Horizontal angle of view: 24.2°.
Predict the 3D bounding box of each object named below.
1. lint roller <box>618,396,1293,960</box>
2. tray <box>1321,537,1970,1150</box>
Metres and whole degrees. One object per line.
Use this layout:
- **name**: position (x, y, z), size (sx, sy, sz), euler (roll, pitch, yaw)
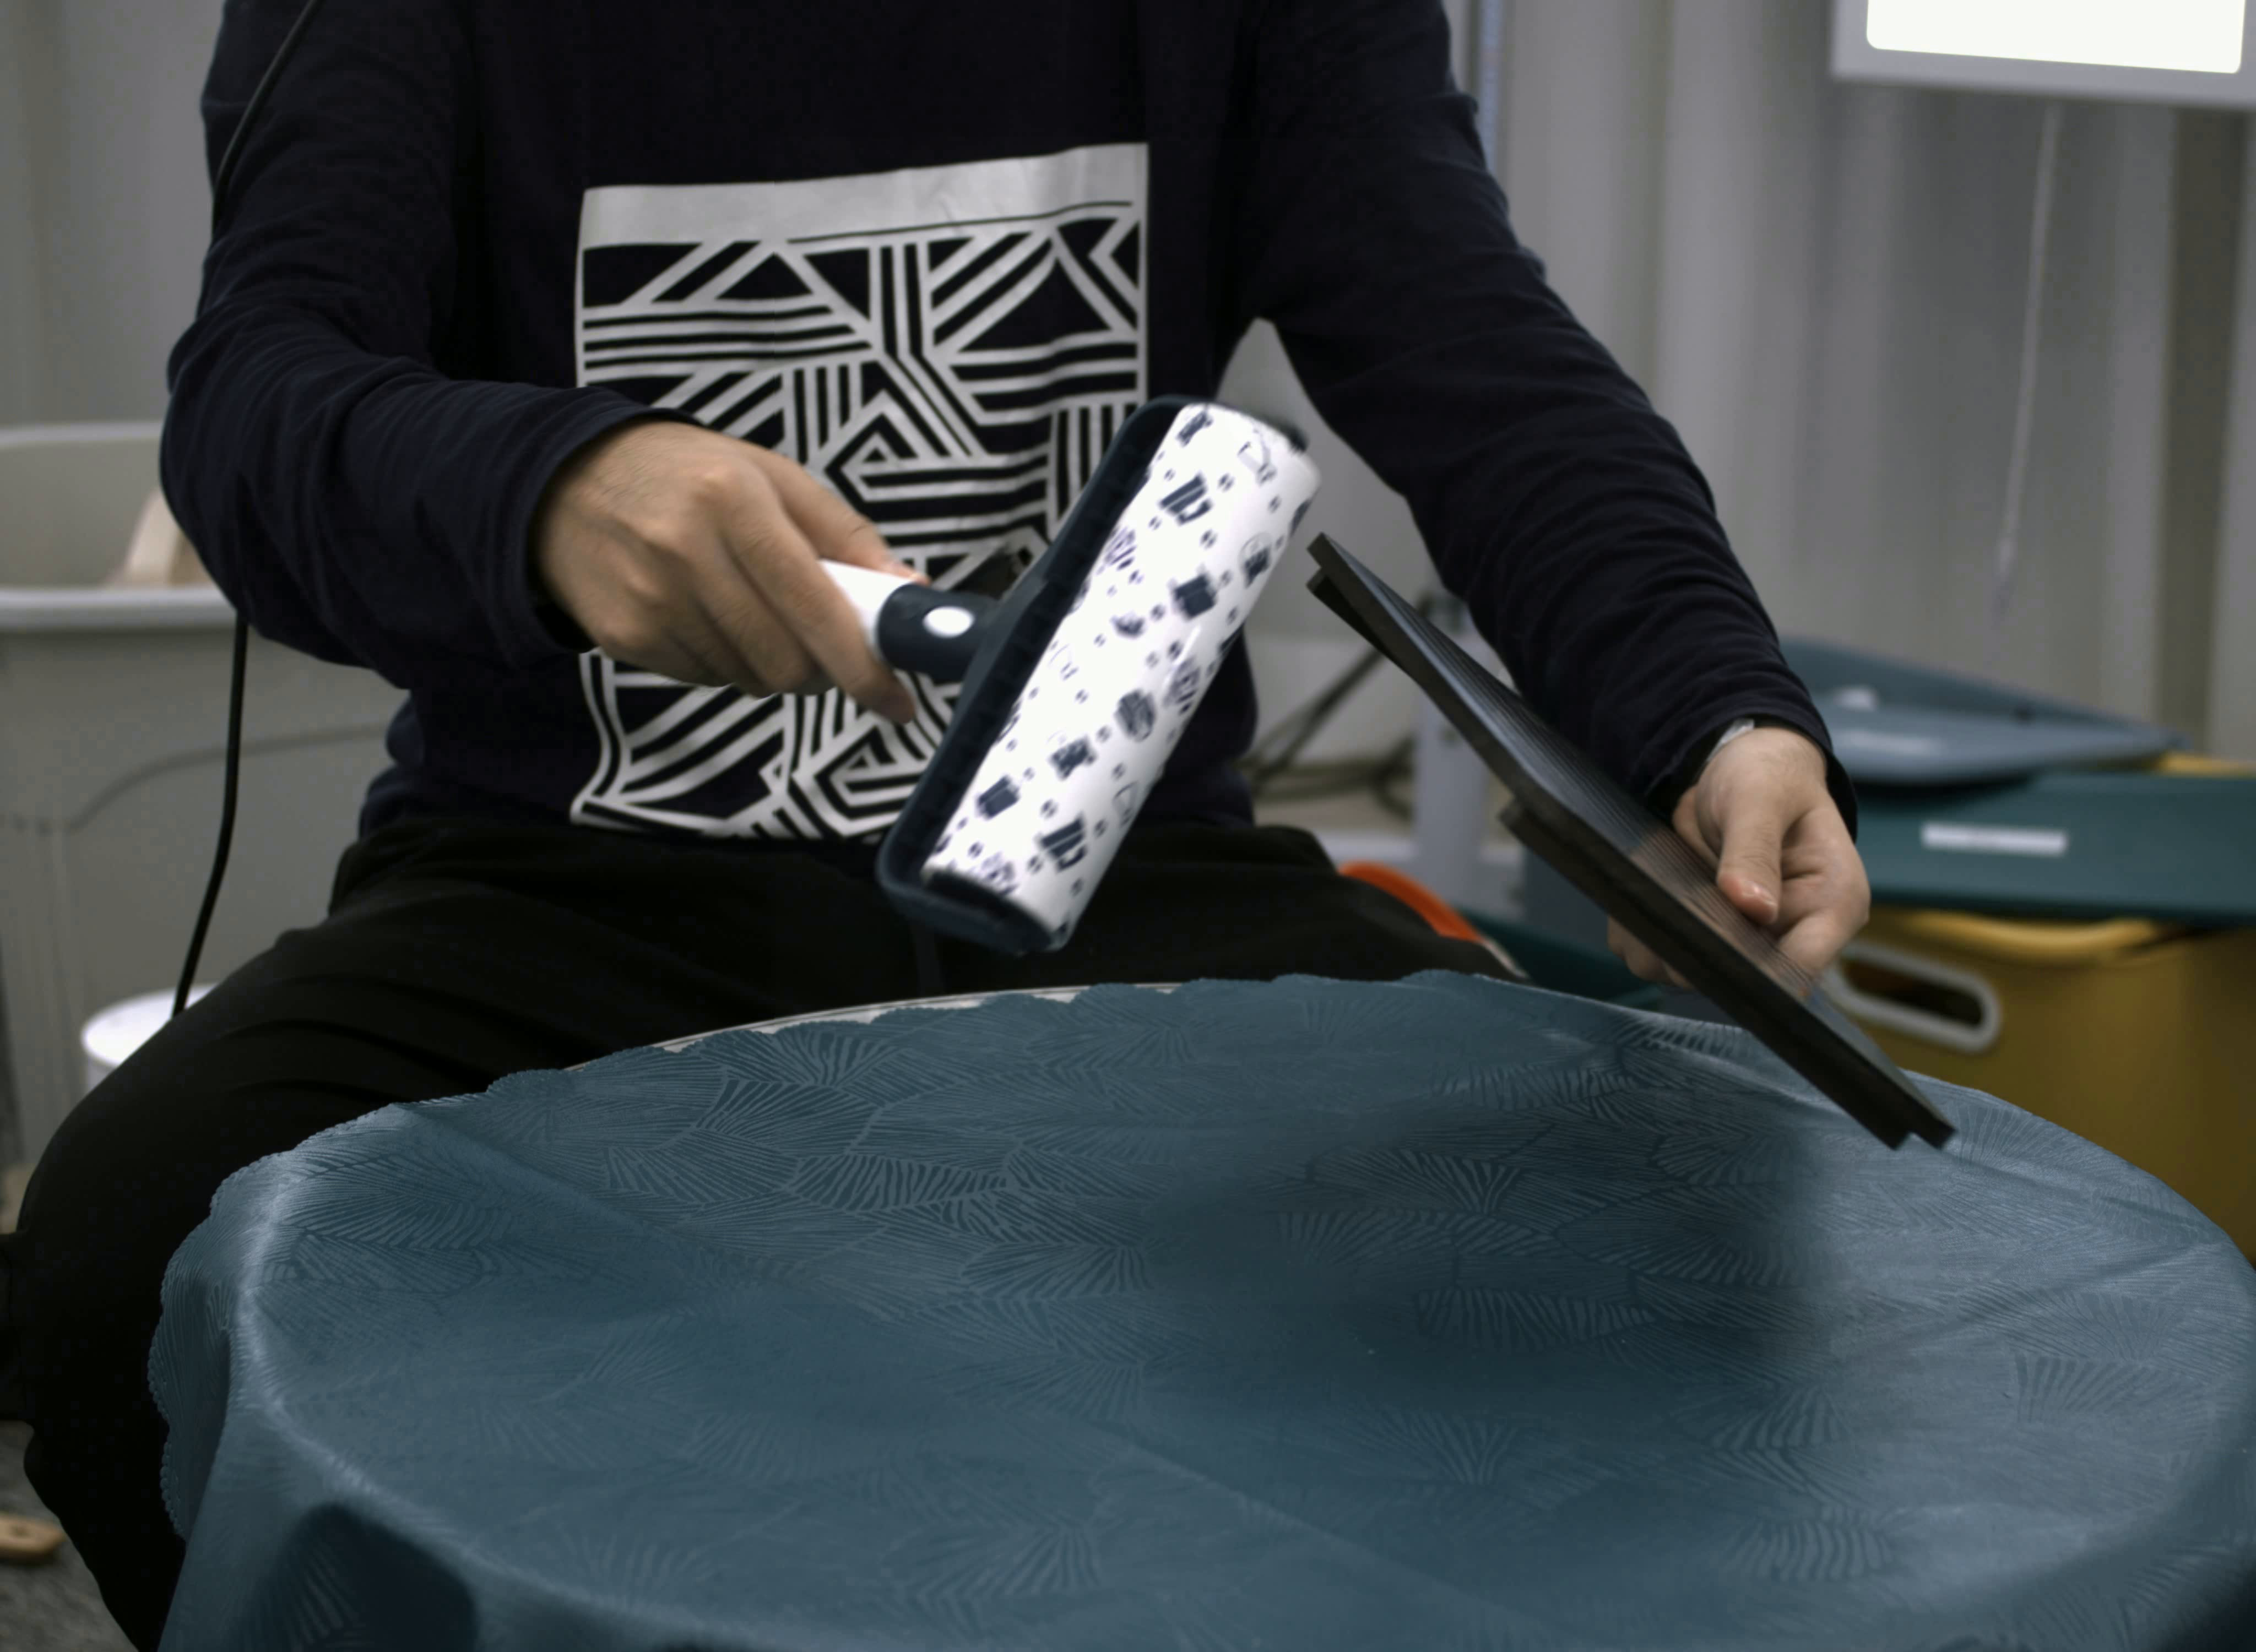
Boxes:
- **lint roller**: position (-0.078, -0.060, 1.586), size (0.244, 0.176, 0.051), euler (14, -19, 43)
- **tray**: position (0.146, 0.002, 1.585), size (0.171, 0.018, 0.303), euler (39, 6, -18)
